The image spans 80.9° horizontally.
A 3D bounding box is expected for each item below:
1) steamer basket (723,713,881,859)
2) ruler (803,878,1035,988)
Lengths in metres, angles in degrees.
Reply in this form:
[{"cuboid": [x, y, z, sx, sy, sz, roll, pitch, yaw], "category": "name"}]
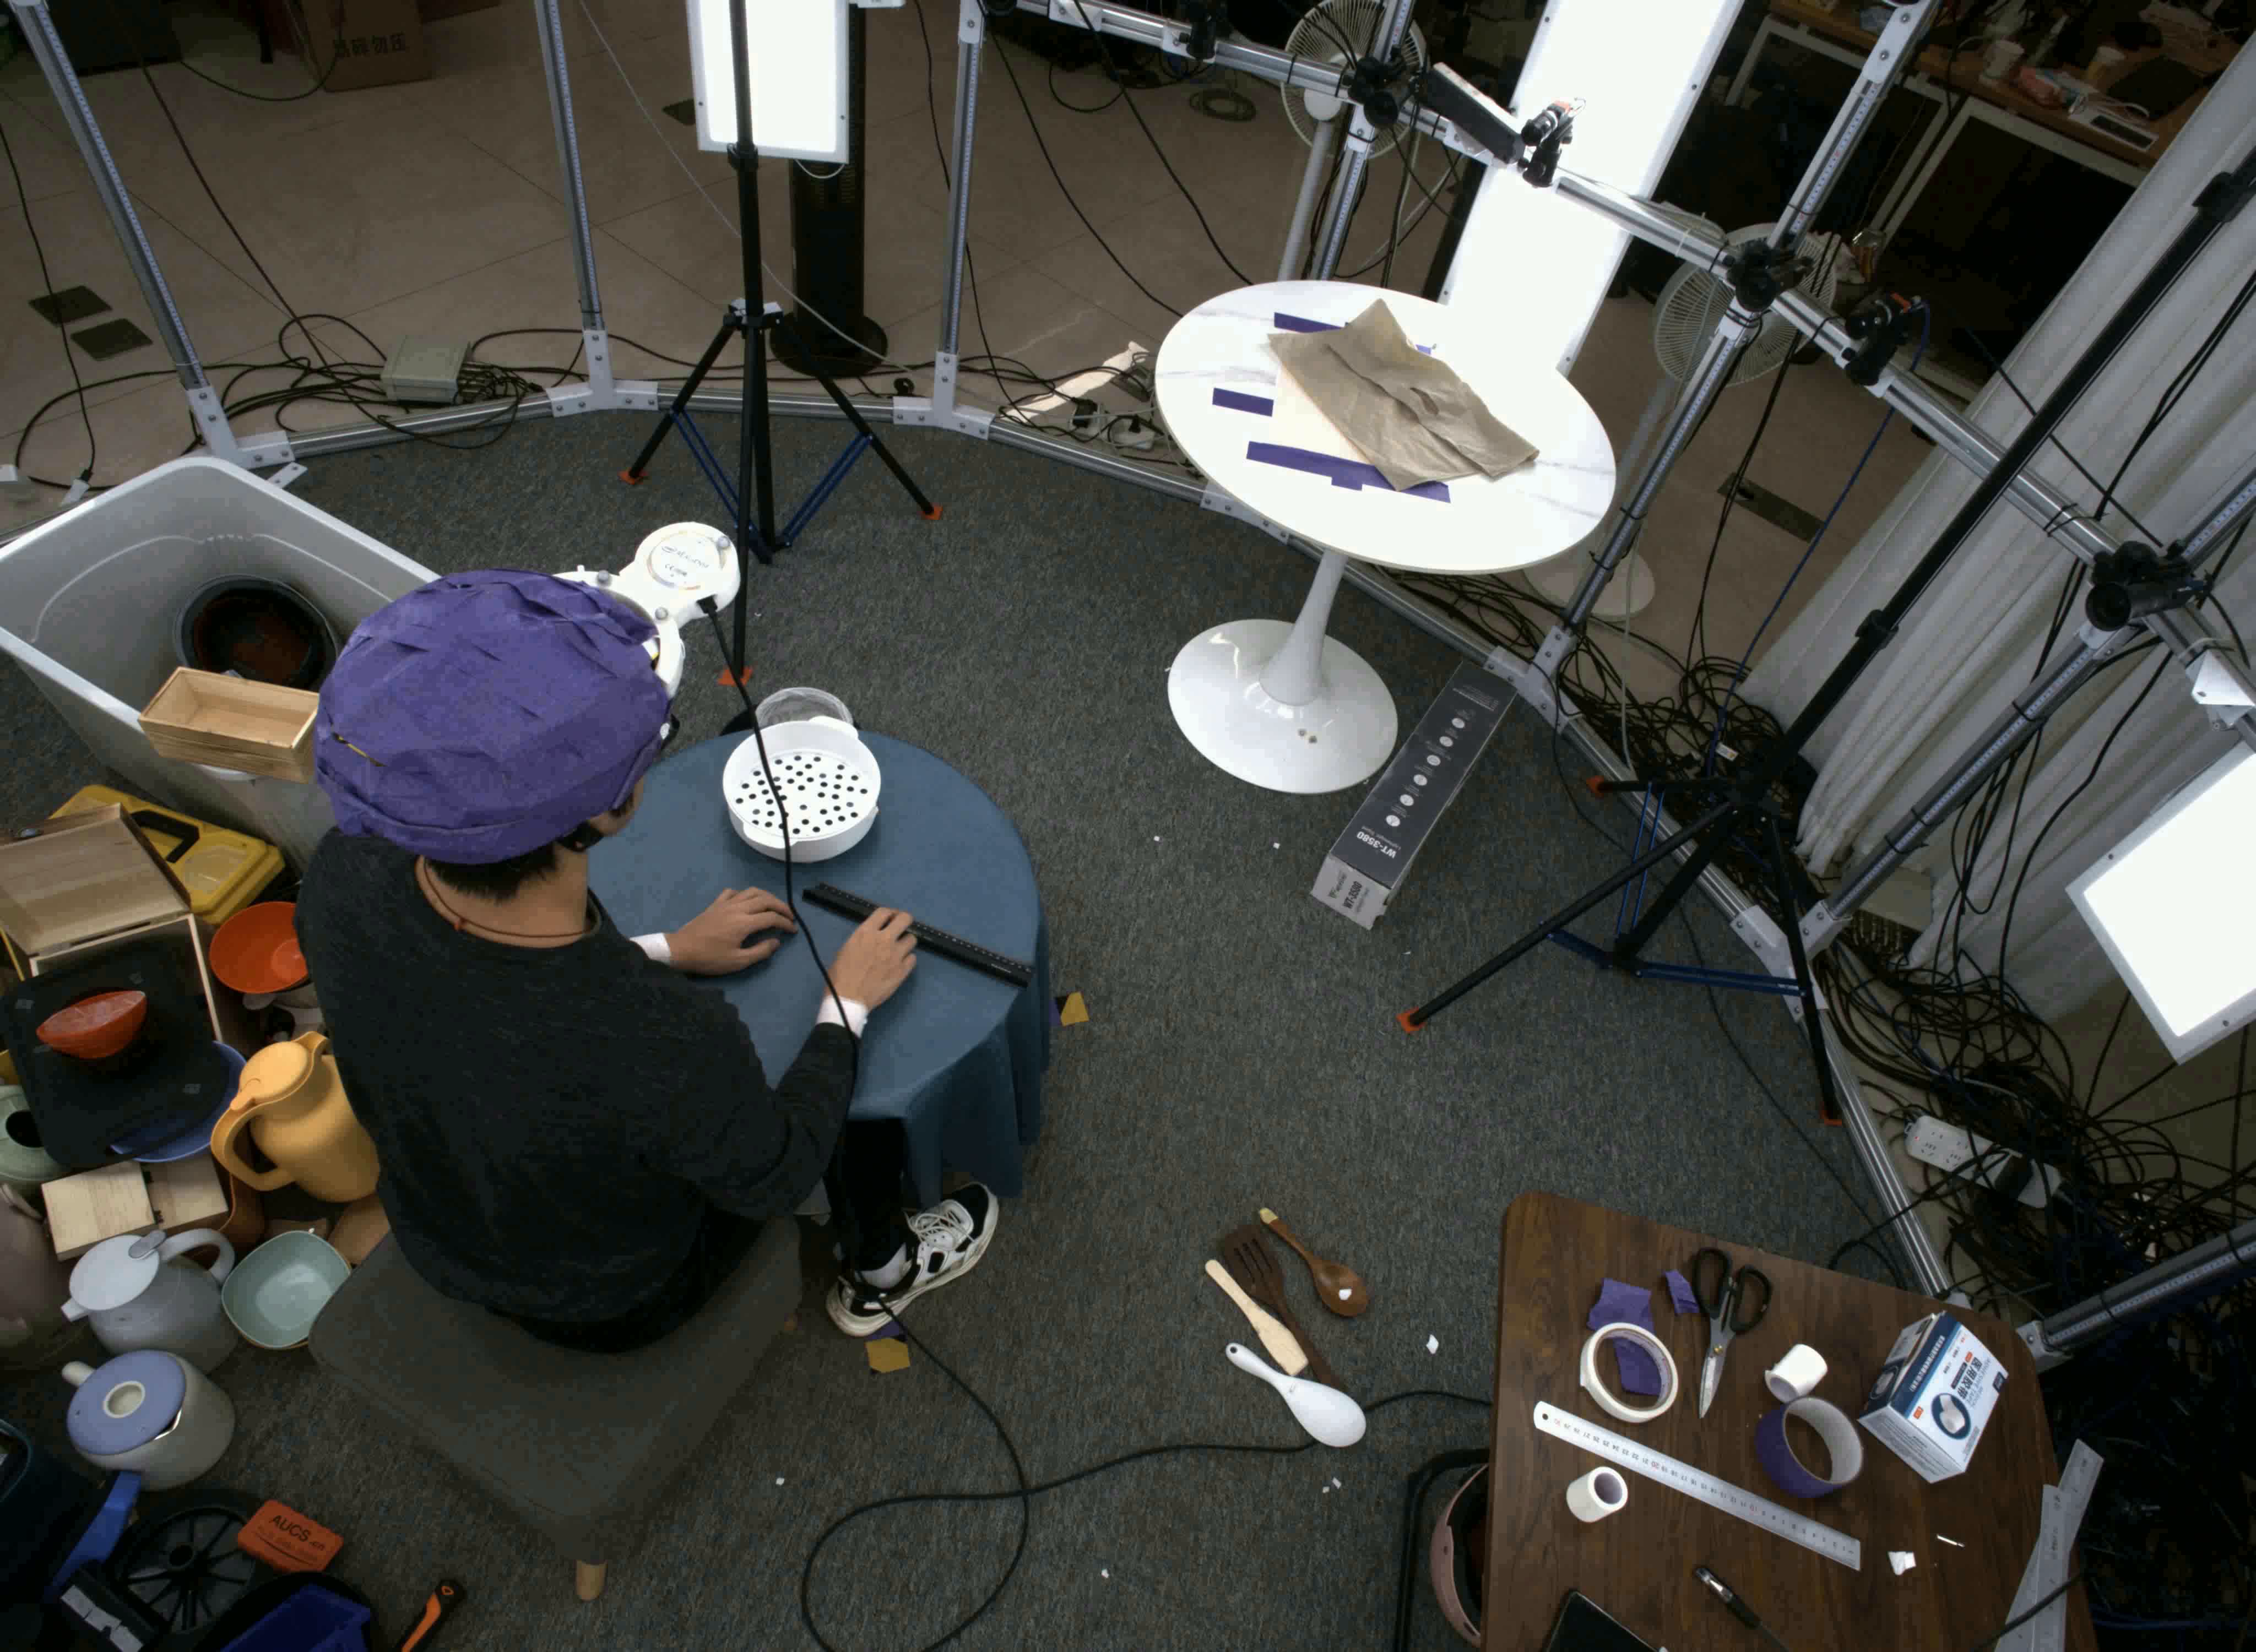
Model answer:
[{"cuboid": [-0.428, -0.049, 1.710, 0.200, 0.070, 0.228, 19, 49, 0], "category": "steamer basket"}, {"cuboid": [-0.264, 0.129, 1.654, 0.309, 0.017, 0.039, 22, 48, 2], "category": "ruler"}]
